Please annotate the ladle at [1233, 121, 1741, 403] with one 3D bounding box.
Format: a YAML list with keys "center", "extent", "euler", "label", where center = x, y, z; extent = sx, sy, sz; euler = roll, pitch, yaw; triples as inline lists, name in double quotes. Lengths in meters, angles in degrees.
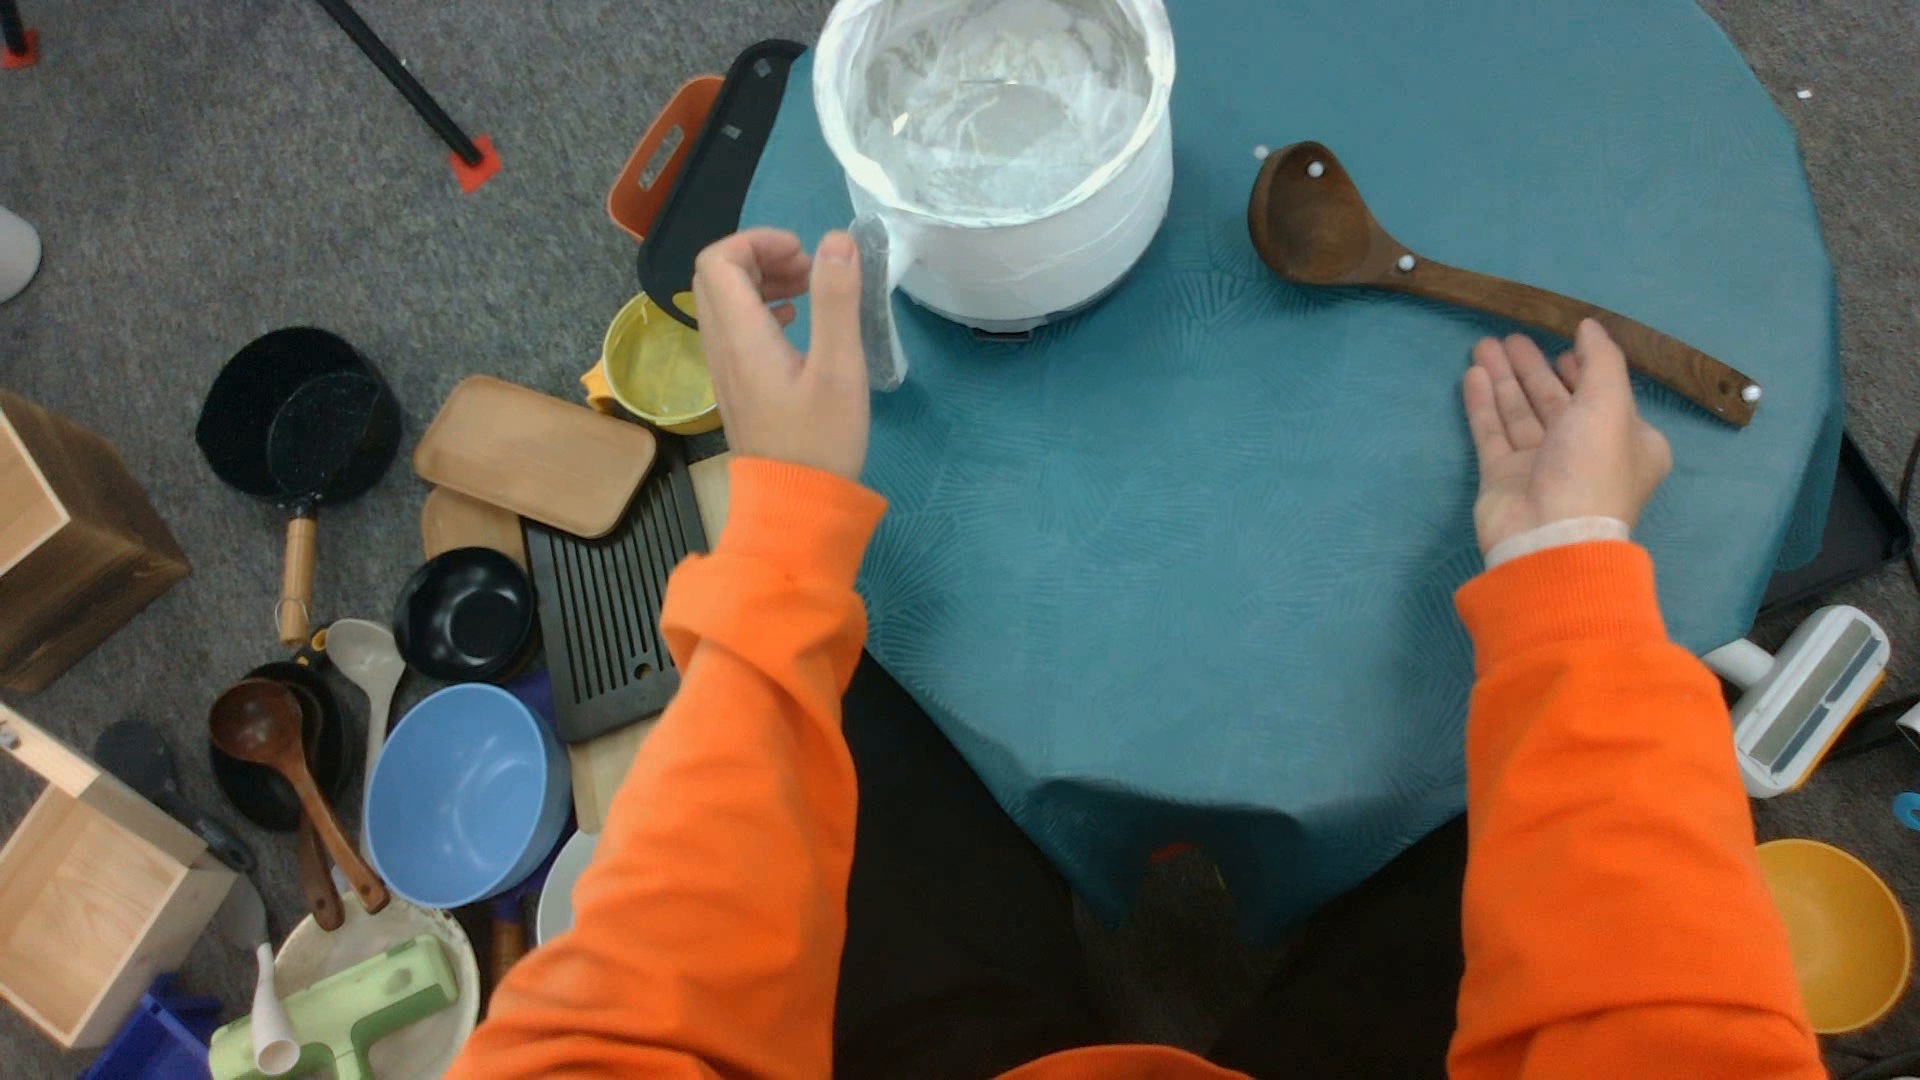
- center: [0.272, -0.141, 0.710]
  extent: [0.274, 0.071, 0.076]
  euler: [24, 81, 14]
  label: "ladle"

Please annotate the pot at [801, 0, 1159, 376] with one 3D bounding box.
- center: [0.001, -0.198, 0.726]
  extent: [0.179, 0.136, 0.234]
  euler: [31, 79, 15]
  label: "pot"
